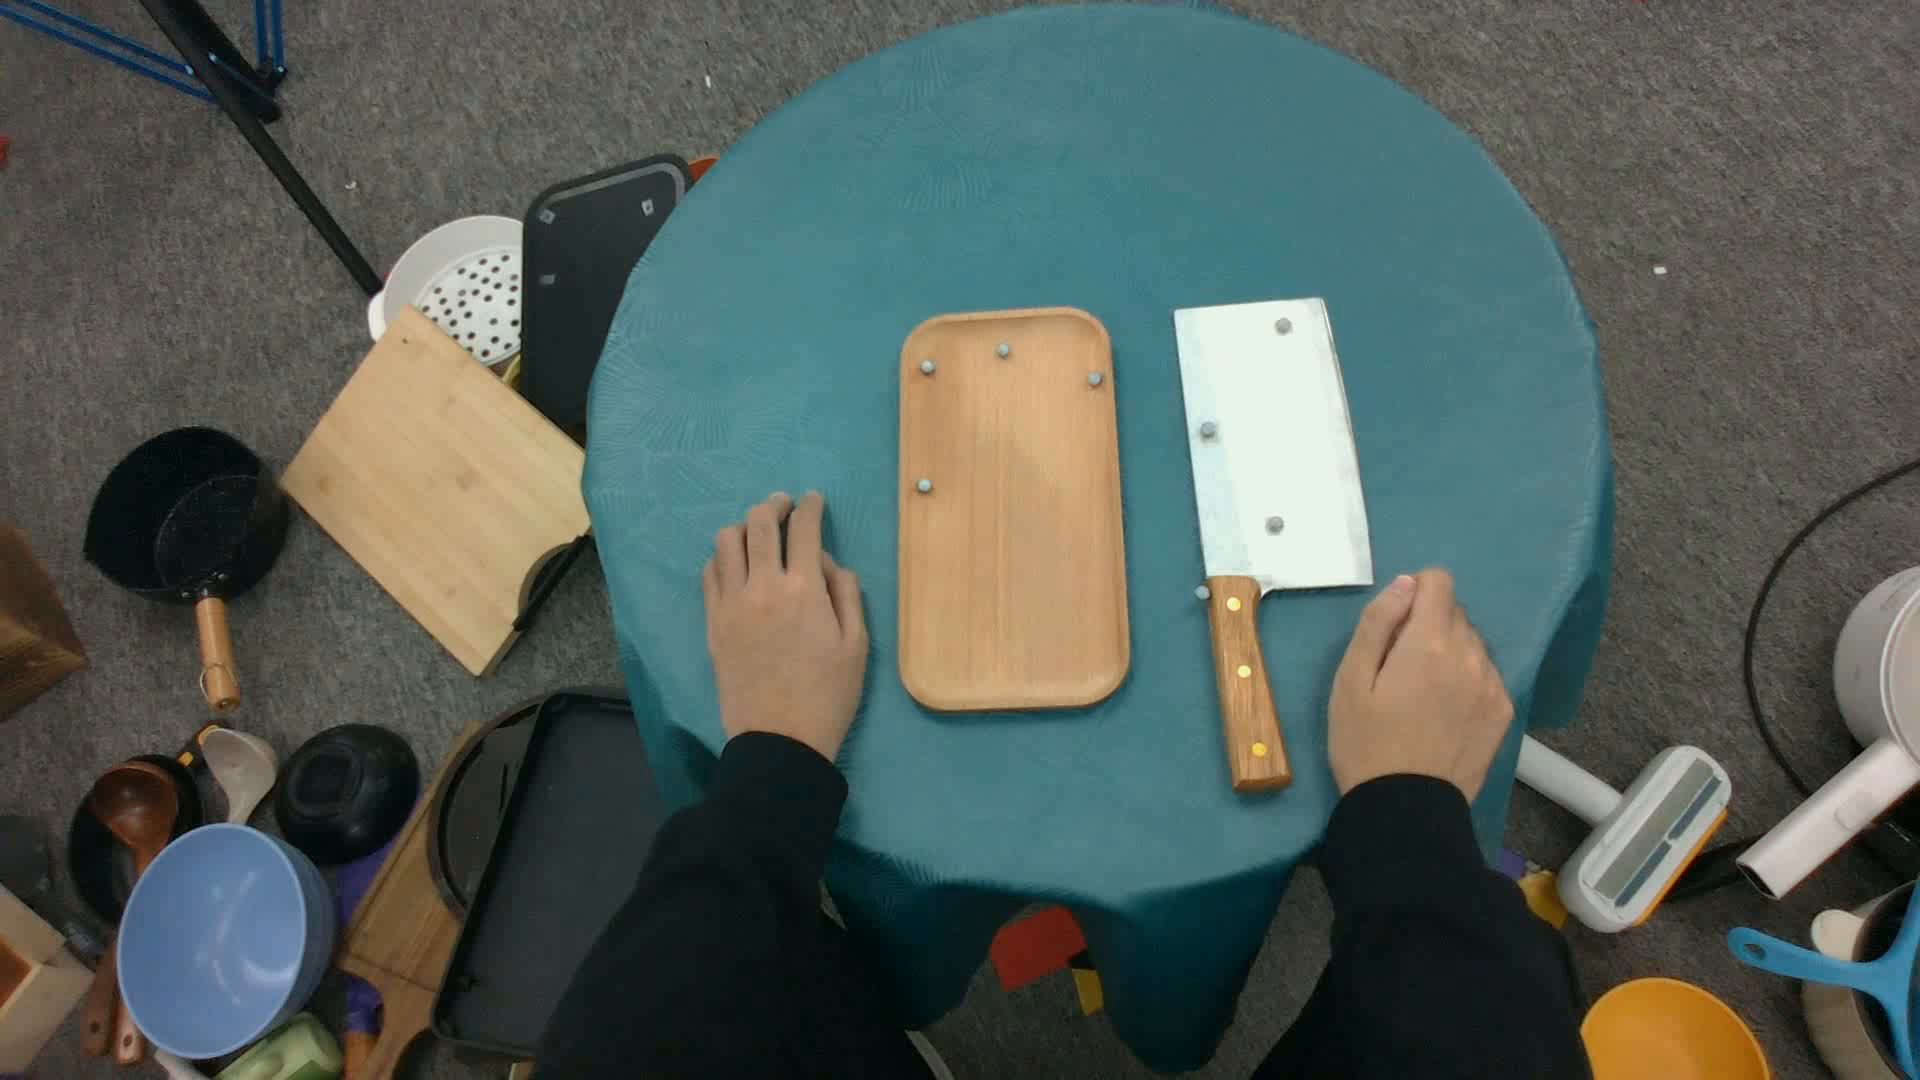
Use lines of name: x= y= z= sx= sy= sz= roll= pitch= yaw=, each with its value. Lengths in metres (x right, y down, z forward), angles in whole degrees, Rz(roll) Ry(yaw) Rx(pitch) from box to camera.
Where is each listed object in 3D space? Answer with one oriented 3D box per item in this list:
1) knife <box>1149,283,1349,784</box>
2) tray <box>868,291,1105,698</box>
knife: x=0.165 y=-0.017 z=0.766 sx=0.093 sy=0.021 sz=0.307 roll=-4 pitch=64 yaw=2
tray: x=0.014 y=-0.031 z=0.786 sx=0.130 sy=0.023 sz=0.251 roll=-2 pitch=67 yaw=6
